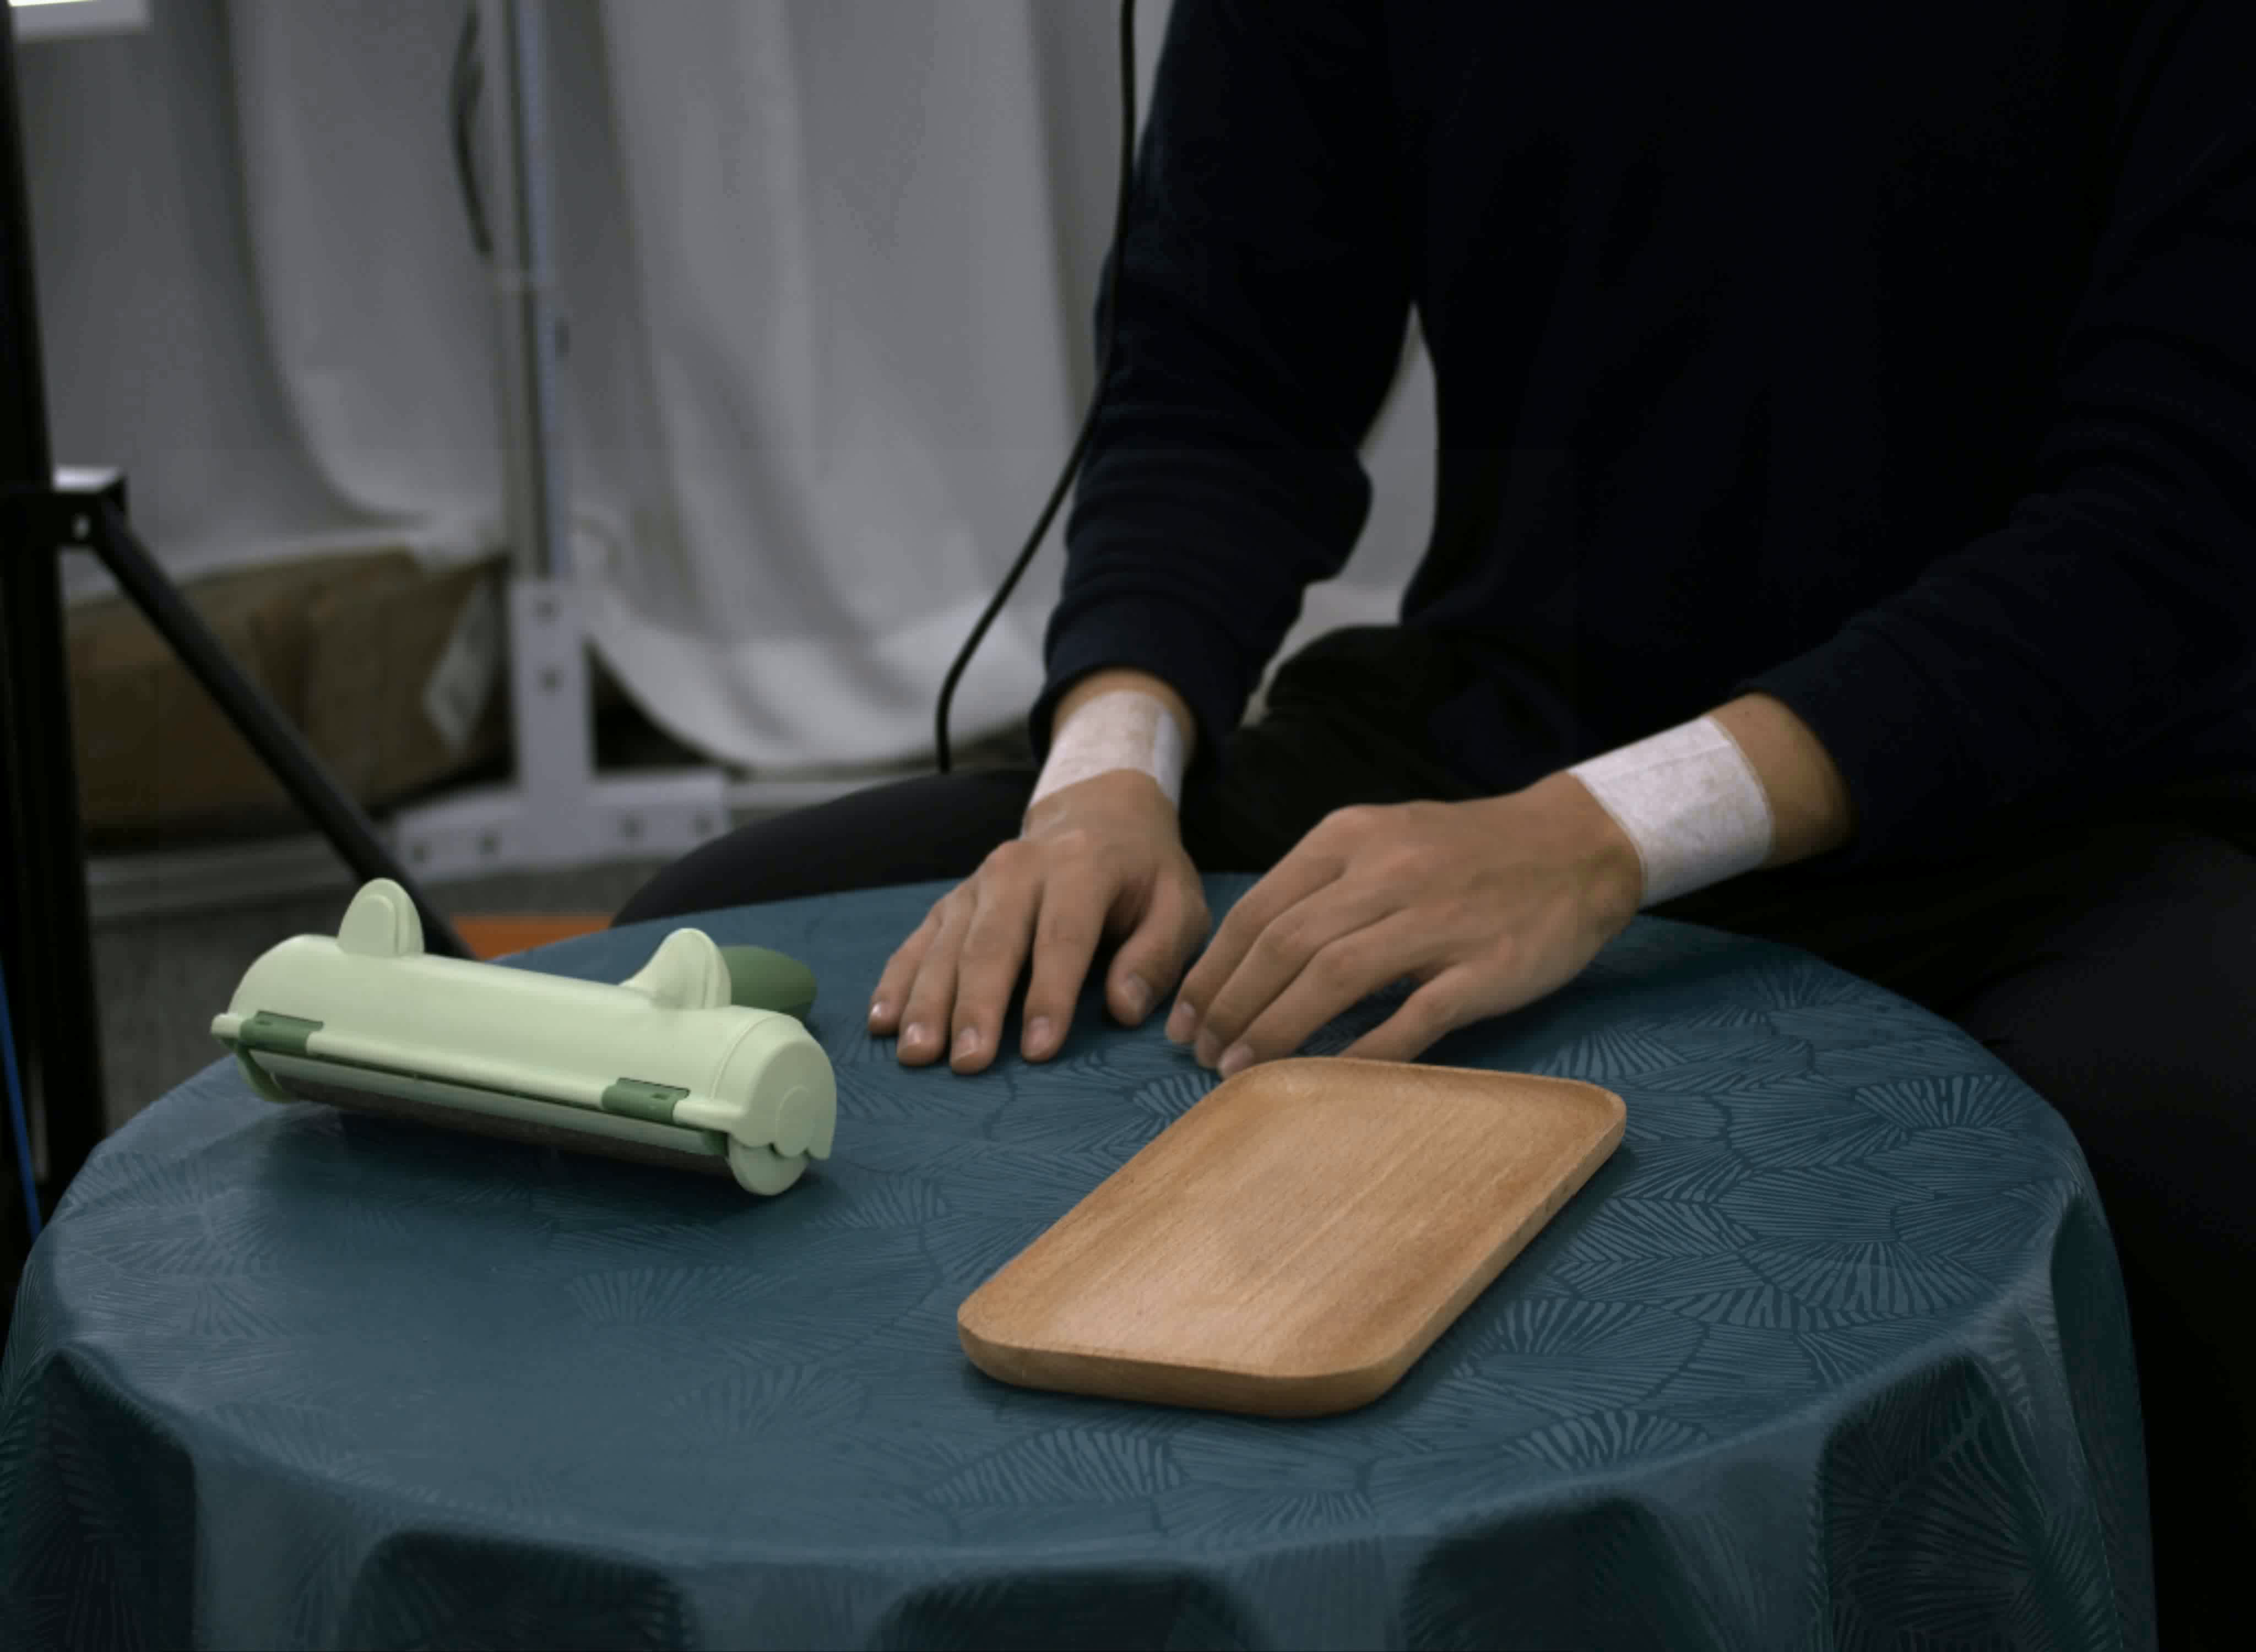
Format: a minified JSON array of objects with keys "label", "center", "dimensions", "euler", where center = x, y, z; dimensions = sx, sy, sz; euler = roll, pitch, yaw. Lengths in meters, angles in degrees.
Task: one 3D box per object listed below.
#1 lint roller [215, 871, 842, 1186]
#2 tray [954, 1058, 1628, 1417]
[{"label":"lint roller","center":[-0.154,0.043,1.655],"dimensions":[0.202,0.082,0.180],"euler":[8,25,31]},{"label":"tray","center":[0.051,0.113,1.500],"dimensions":[0.132,0.023,0.247],"euler":[6,17,23]}]
